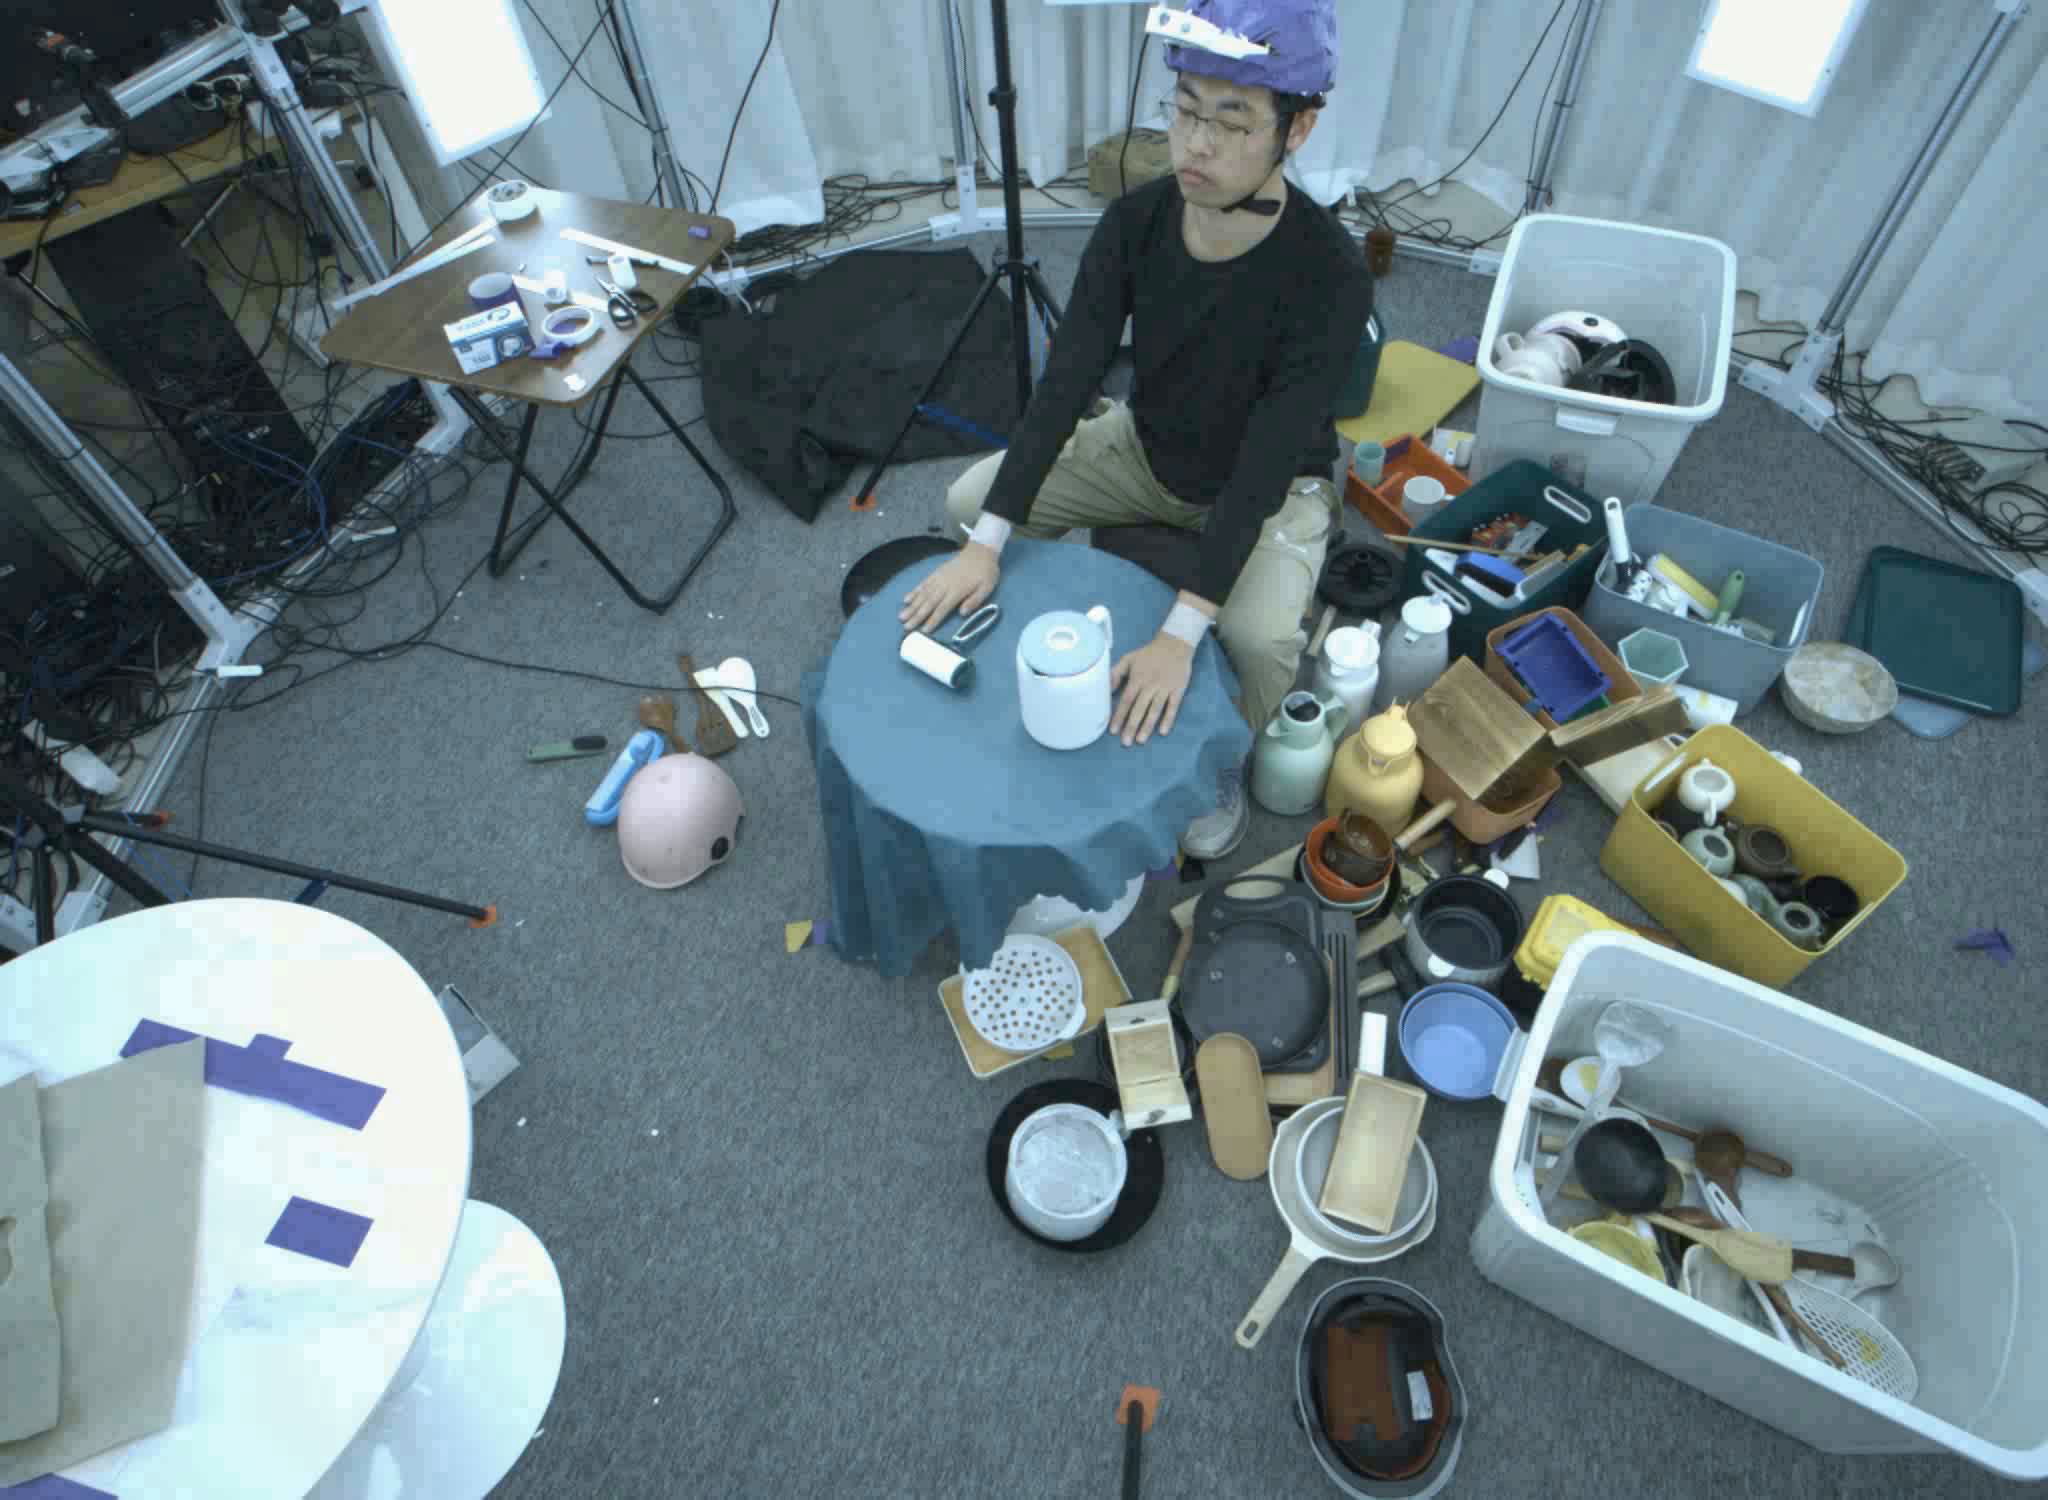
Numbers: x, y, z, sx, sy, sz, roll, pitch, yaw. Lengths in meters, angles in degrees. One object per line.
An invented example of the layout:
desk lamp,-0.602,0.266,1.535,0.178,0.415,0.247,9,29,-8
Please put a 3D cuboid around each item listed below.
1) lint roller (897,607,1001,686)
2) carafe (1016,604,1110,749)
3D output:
lint roller,-0.096,-0.181,1.893,0.132,0.049,0.181,31,58,22
carafe,0.070,-0.116,1.762,0.130,0.184,0.192,26,58,19
